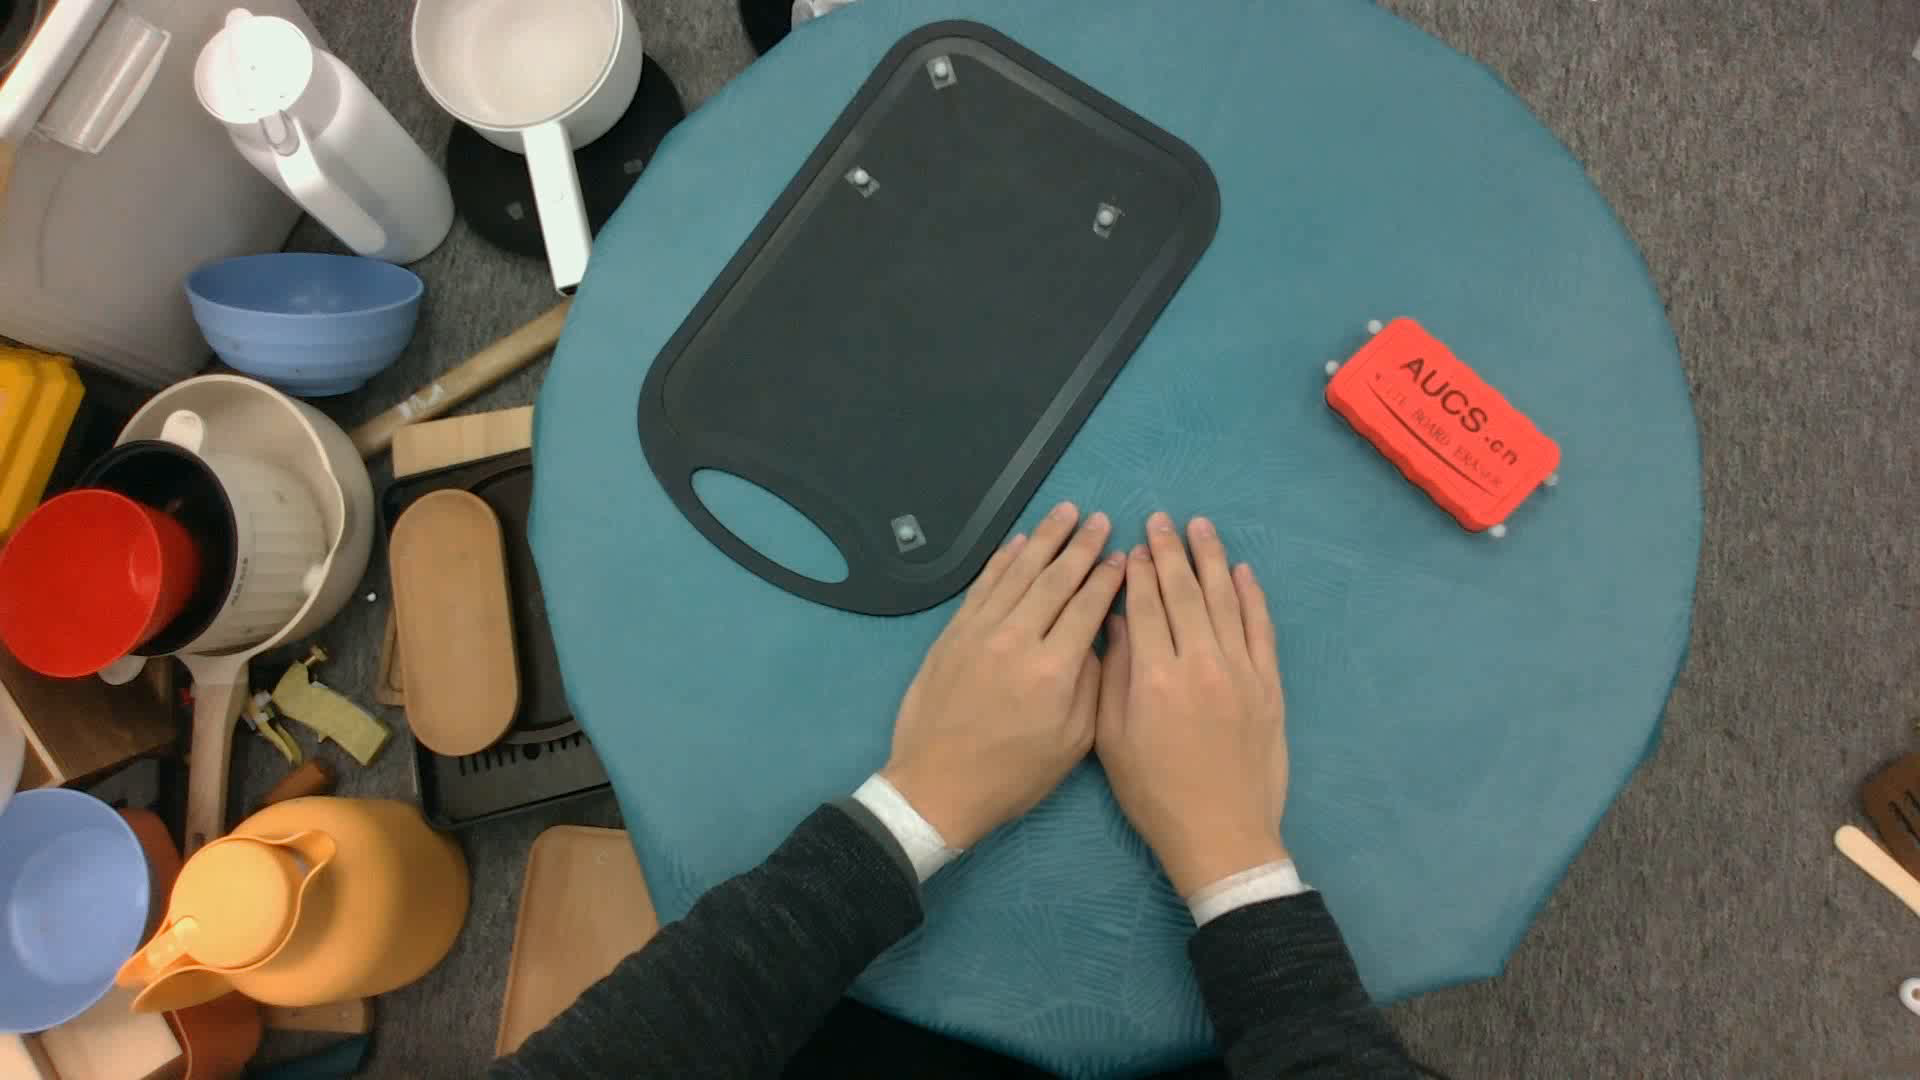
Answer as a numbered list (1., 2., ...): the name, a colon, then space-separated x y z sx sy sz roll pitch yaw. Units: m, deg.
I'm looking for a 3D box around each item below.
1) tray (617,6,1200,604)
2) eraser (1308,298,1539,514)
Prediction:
1. tray: -0.030 -0.126 0.728 0.211 0.010 0.326 34 81 9
2. eraser: 0.232 -0.068 0.694 0.059 0.023 0.108 -44 82 -6
